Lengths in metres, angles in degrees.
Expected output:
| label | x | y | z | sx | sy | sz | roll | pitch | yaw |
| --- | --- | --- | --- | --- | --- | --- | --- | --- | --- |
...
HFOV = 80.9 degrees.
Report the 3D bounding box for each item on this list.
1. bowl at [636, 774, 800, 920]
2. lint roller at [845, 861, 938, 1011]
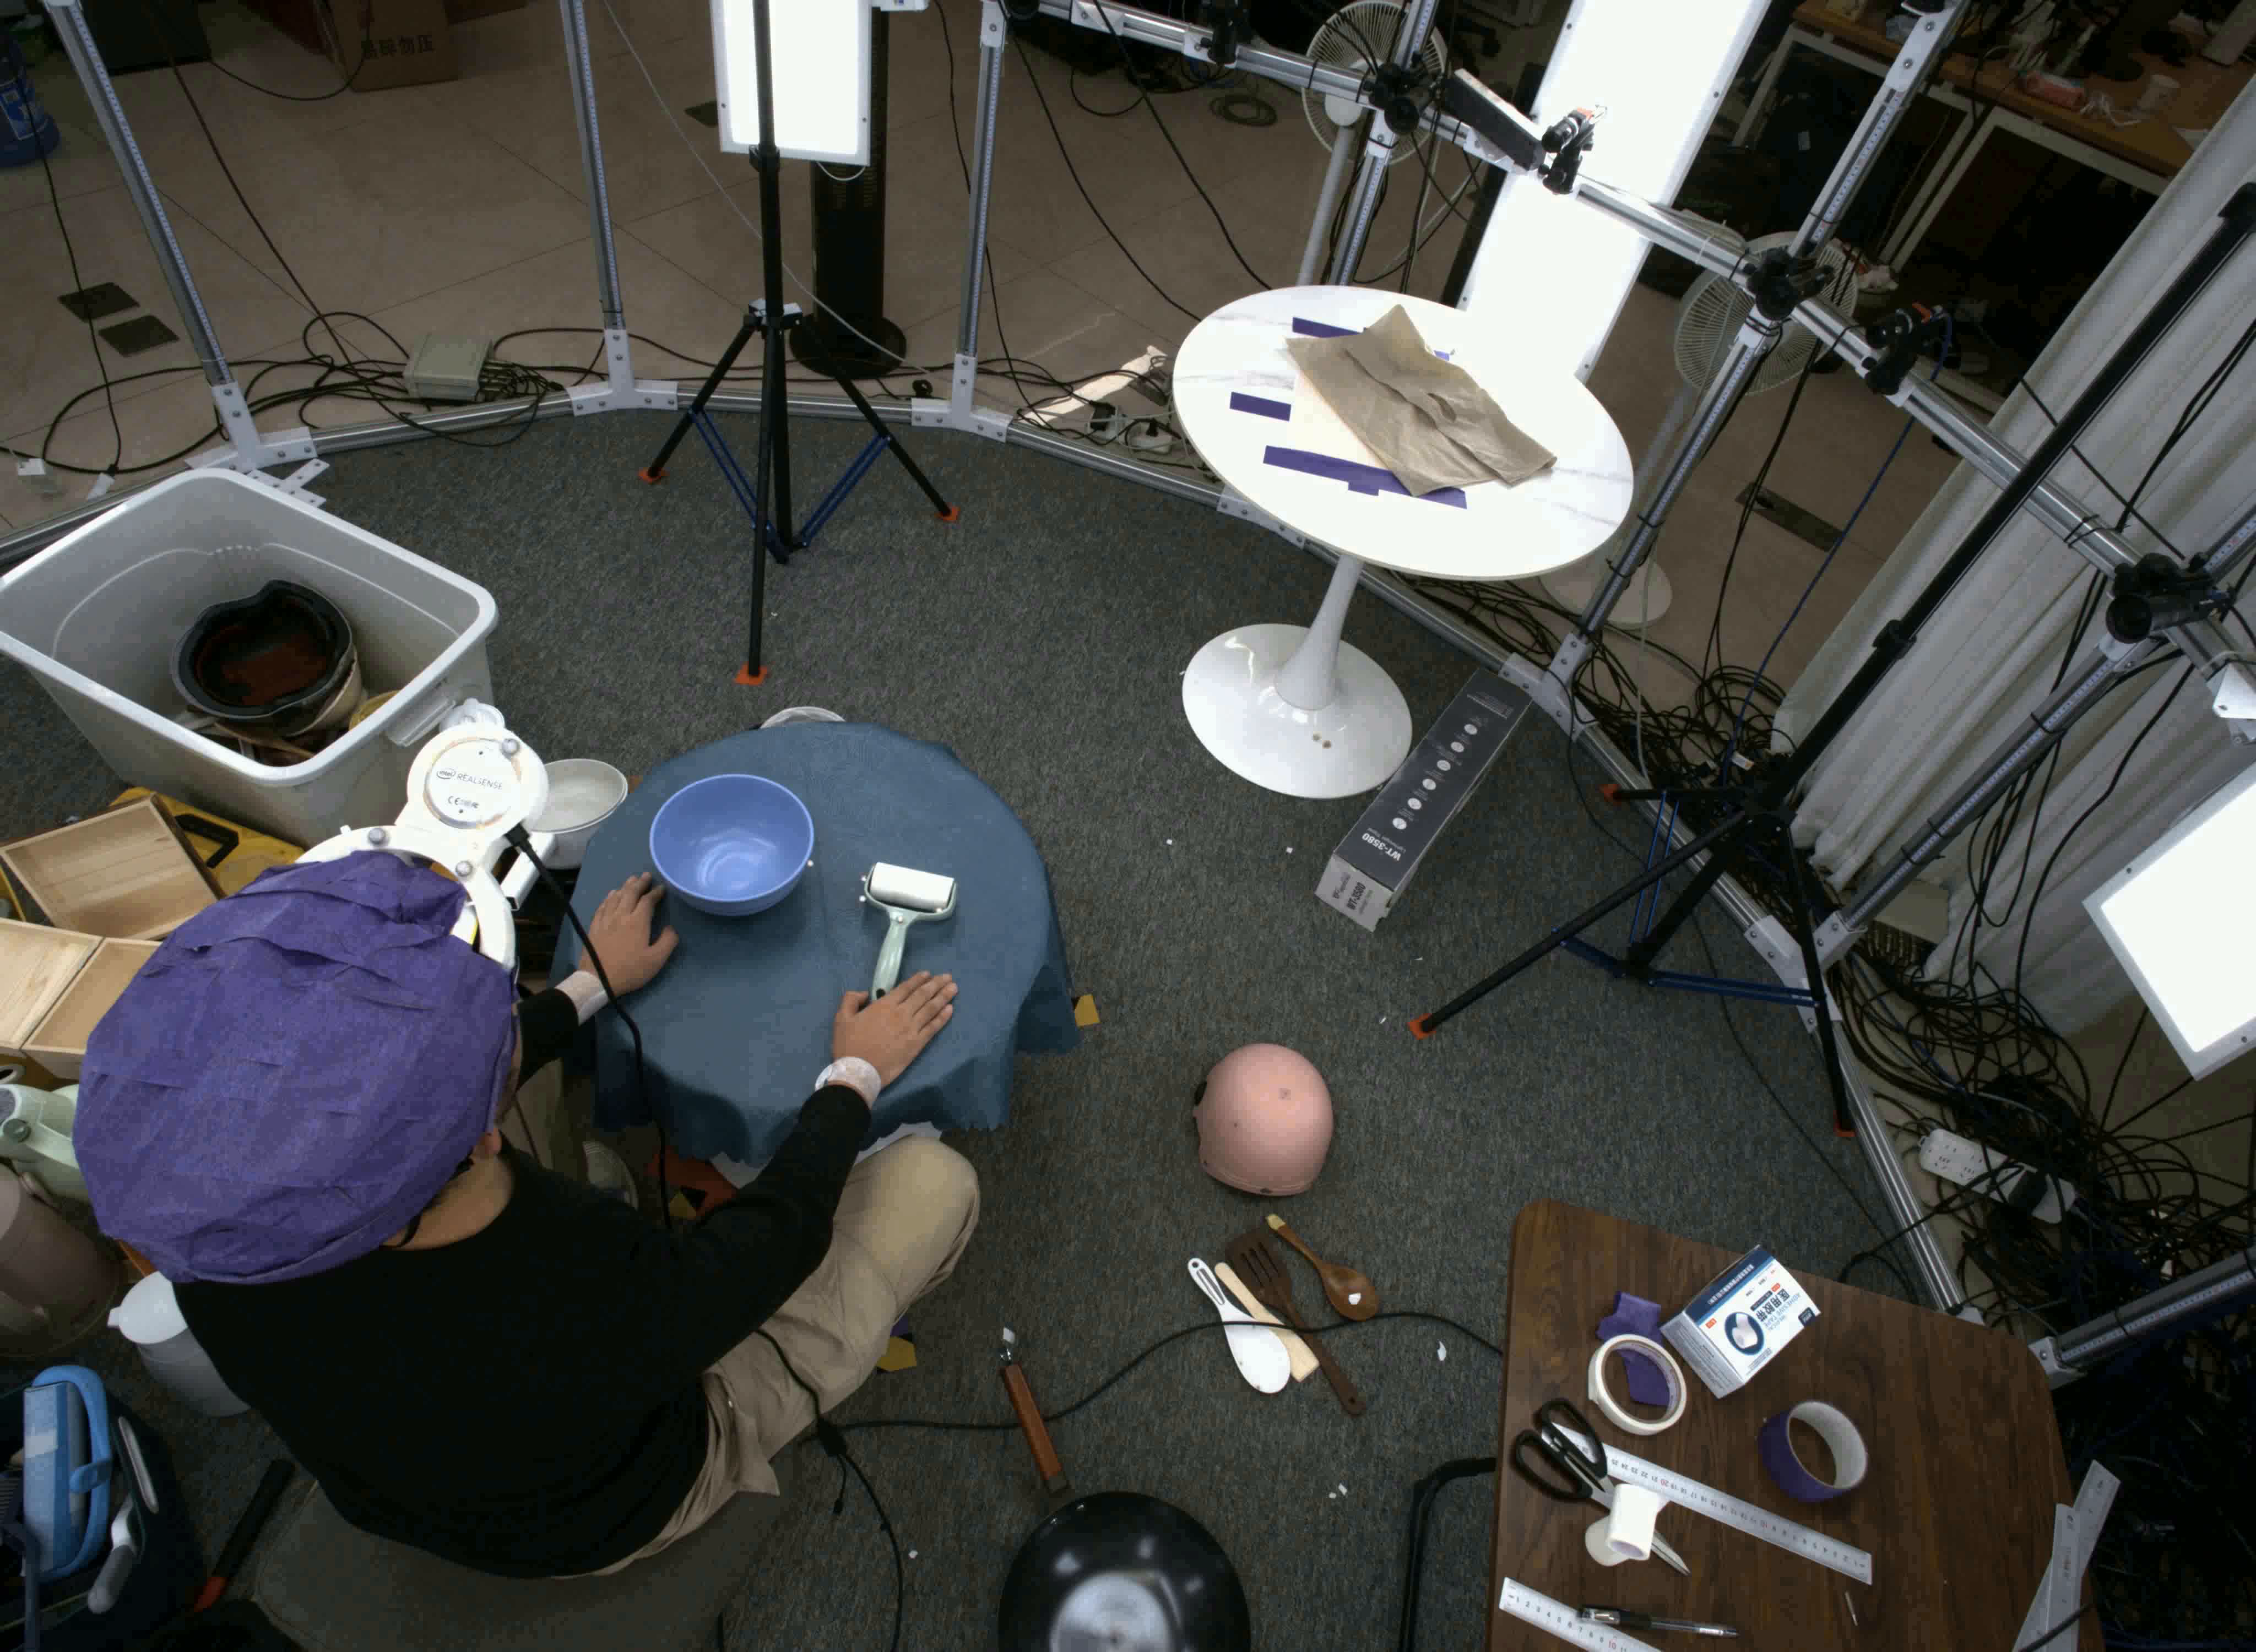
| label | x | y | z | sx | sy | sz | roll | pitch | yaw |
| --- | --- | --- | --- | --- | --- | --- | --- | --- | --- |
| bowl | -0.507 | 0.040 | 1.605 | 0.196 | 0.097 | 0.193 | 8 | 52 | -9 |
| lint roller | -0.308 | 0.133 | 1.620 | 0.116 | 0.049 | 0.194 | 13 | 53 | -7 |
